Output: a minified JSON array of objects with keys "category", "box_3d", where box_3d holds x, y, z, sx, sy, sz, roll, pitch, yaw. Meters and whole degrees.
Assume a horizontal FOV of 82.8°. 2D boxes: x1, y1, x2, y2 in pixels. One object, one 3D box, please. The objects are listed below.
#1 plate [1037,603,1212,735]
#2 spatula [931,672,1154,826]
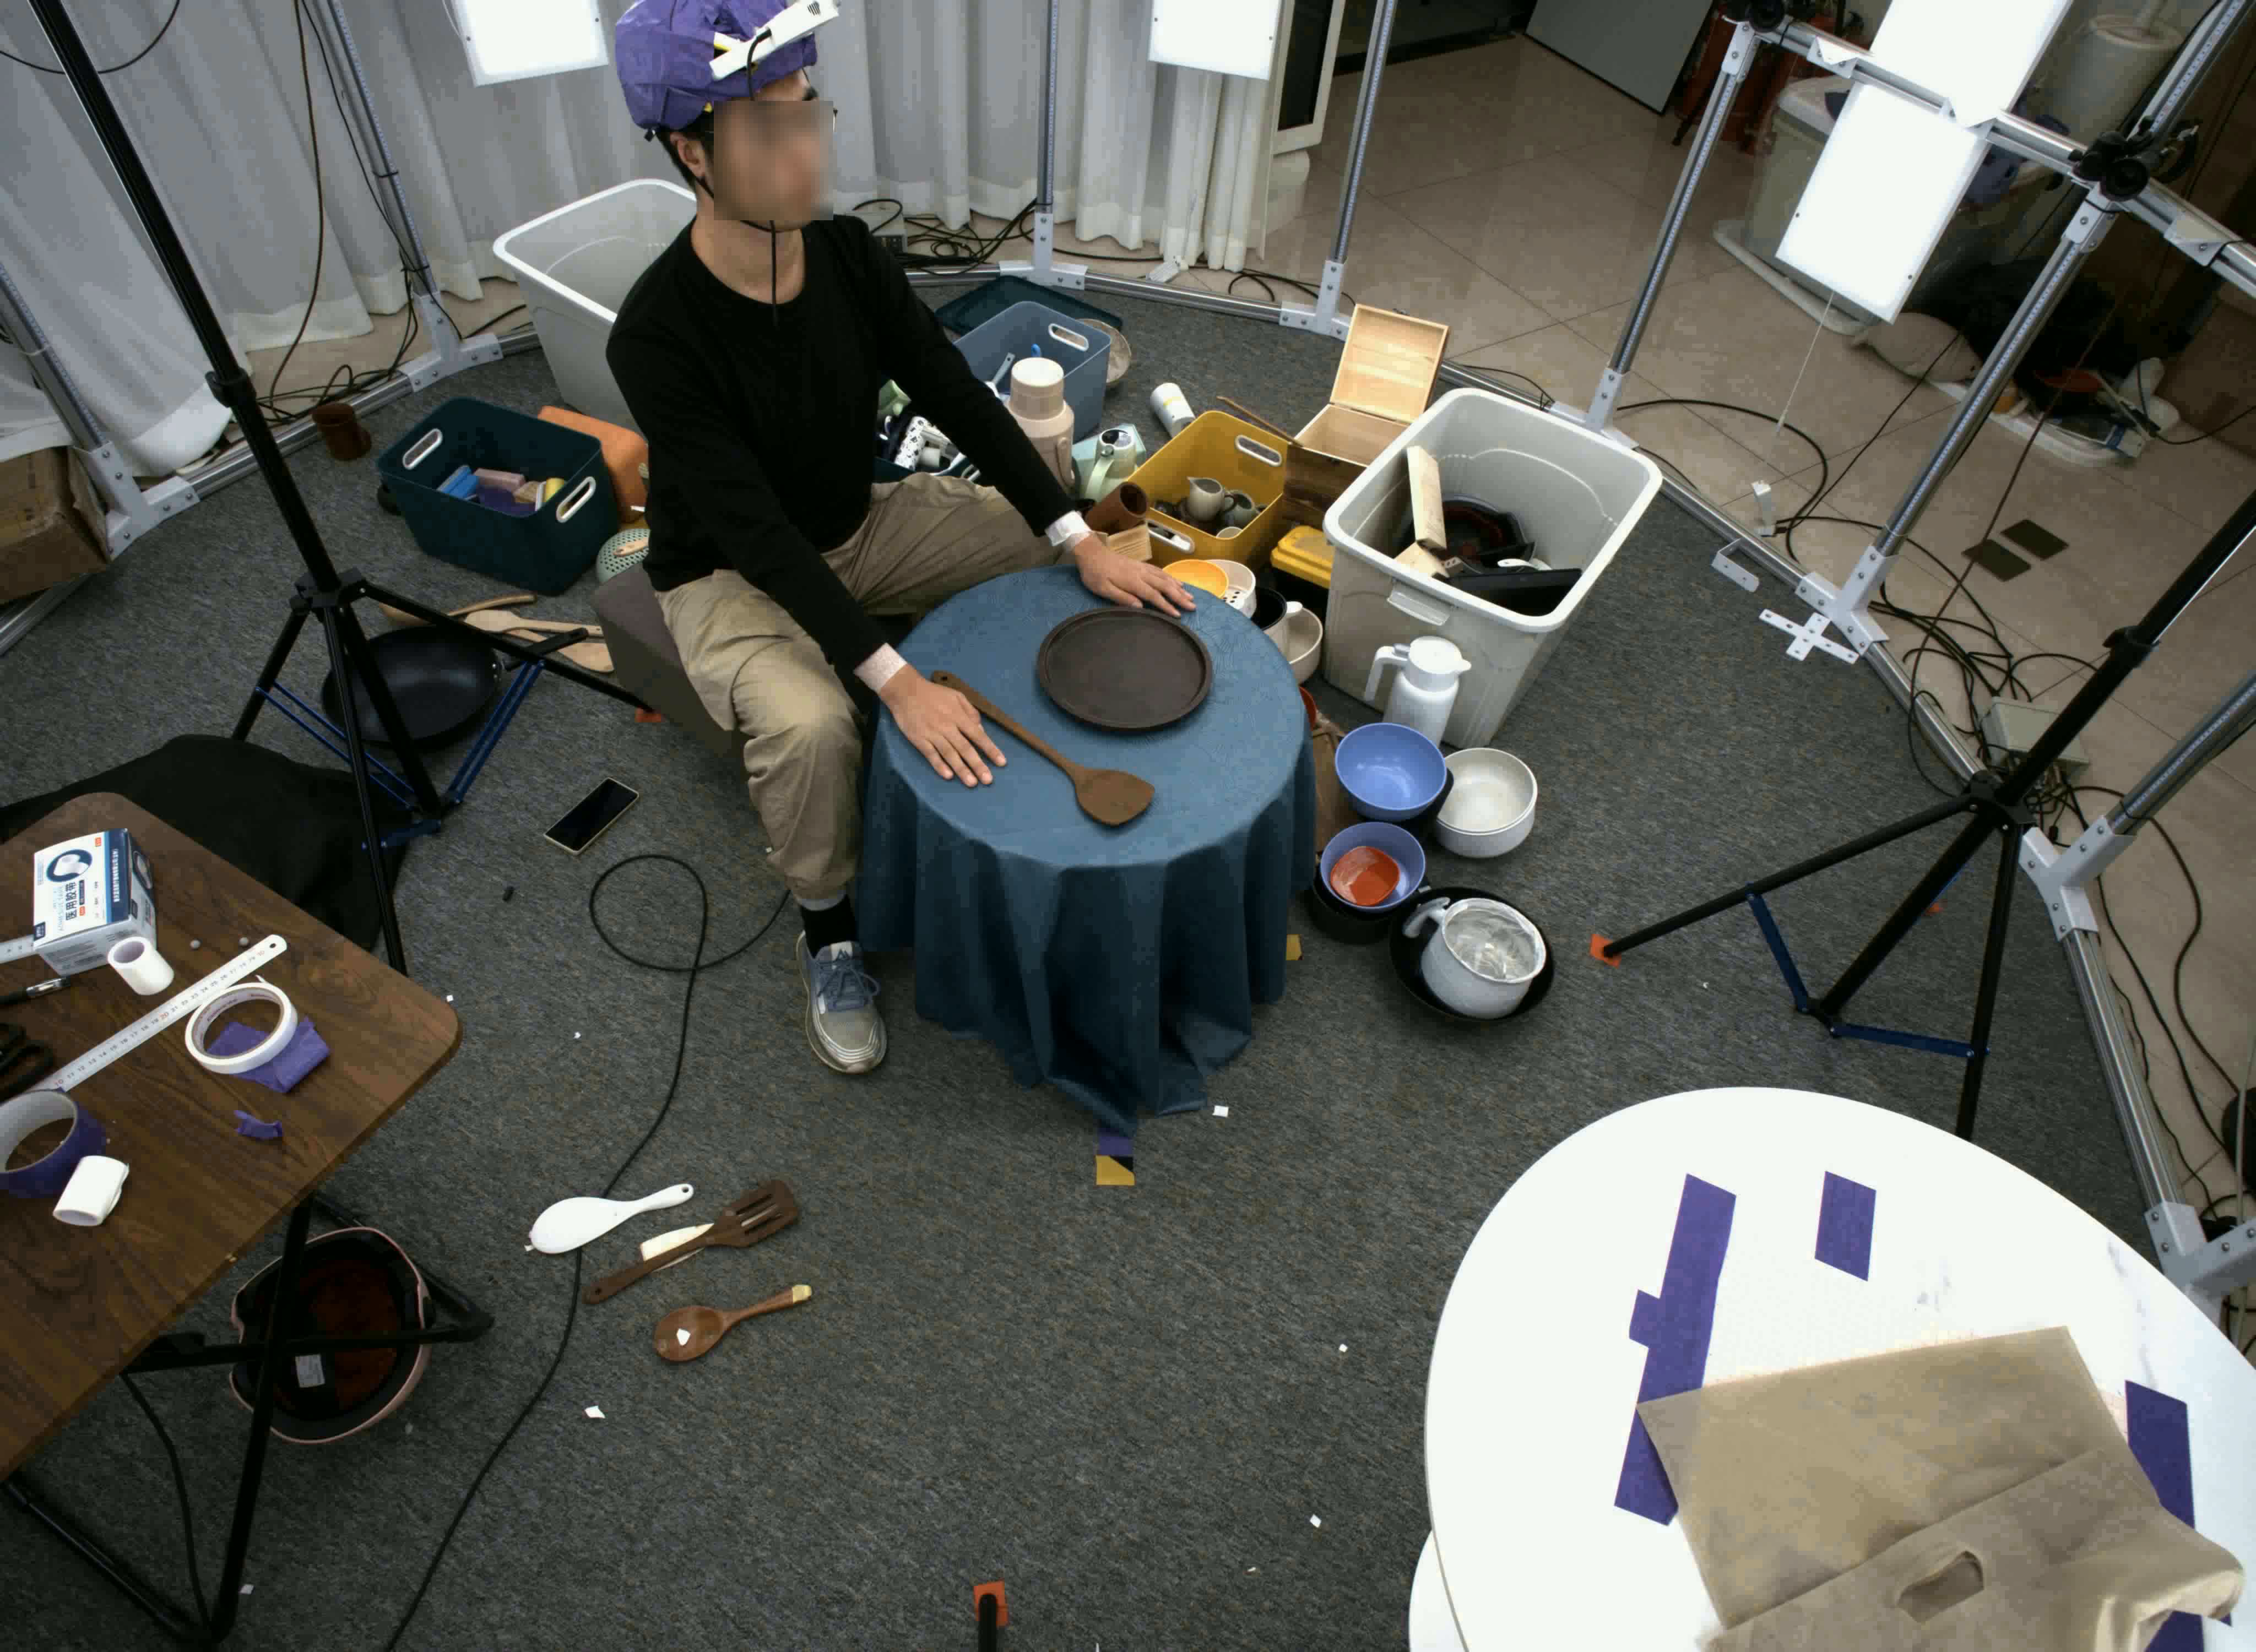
[{"category":"plate","box_3d":[-0.005,-0.225,1.851,0.254,0.028,0.261,2,50,-2]},{"category":"spatula","box_3d":[-0.131,-0.117,1.753,0.391,0.015,0.097,35,55,24]}]
